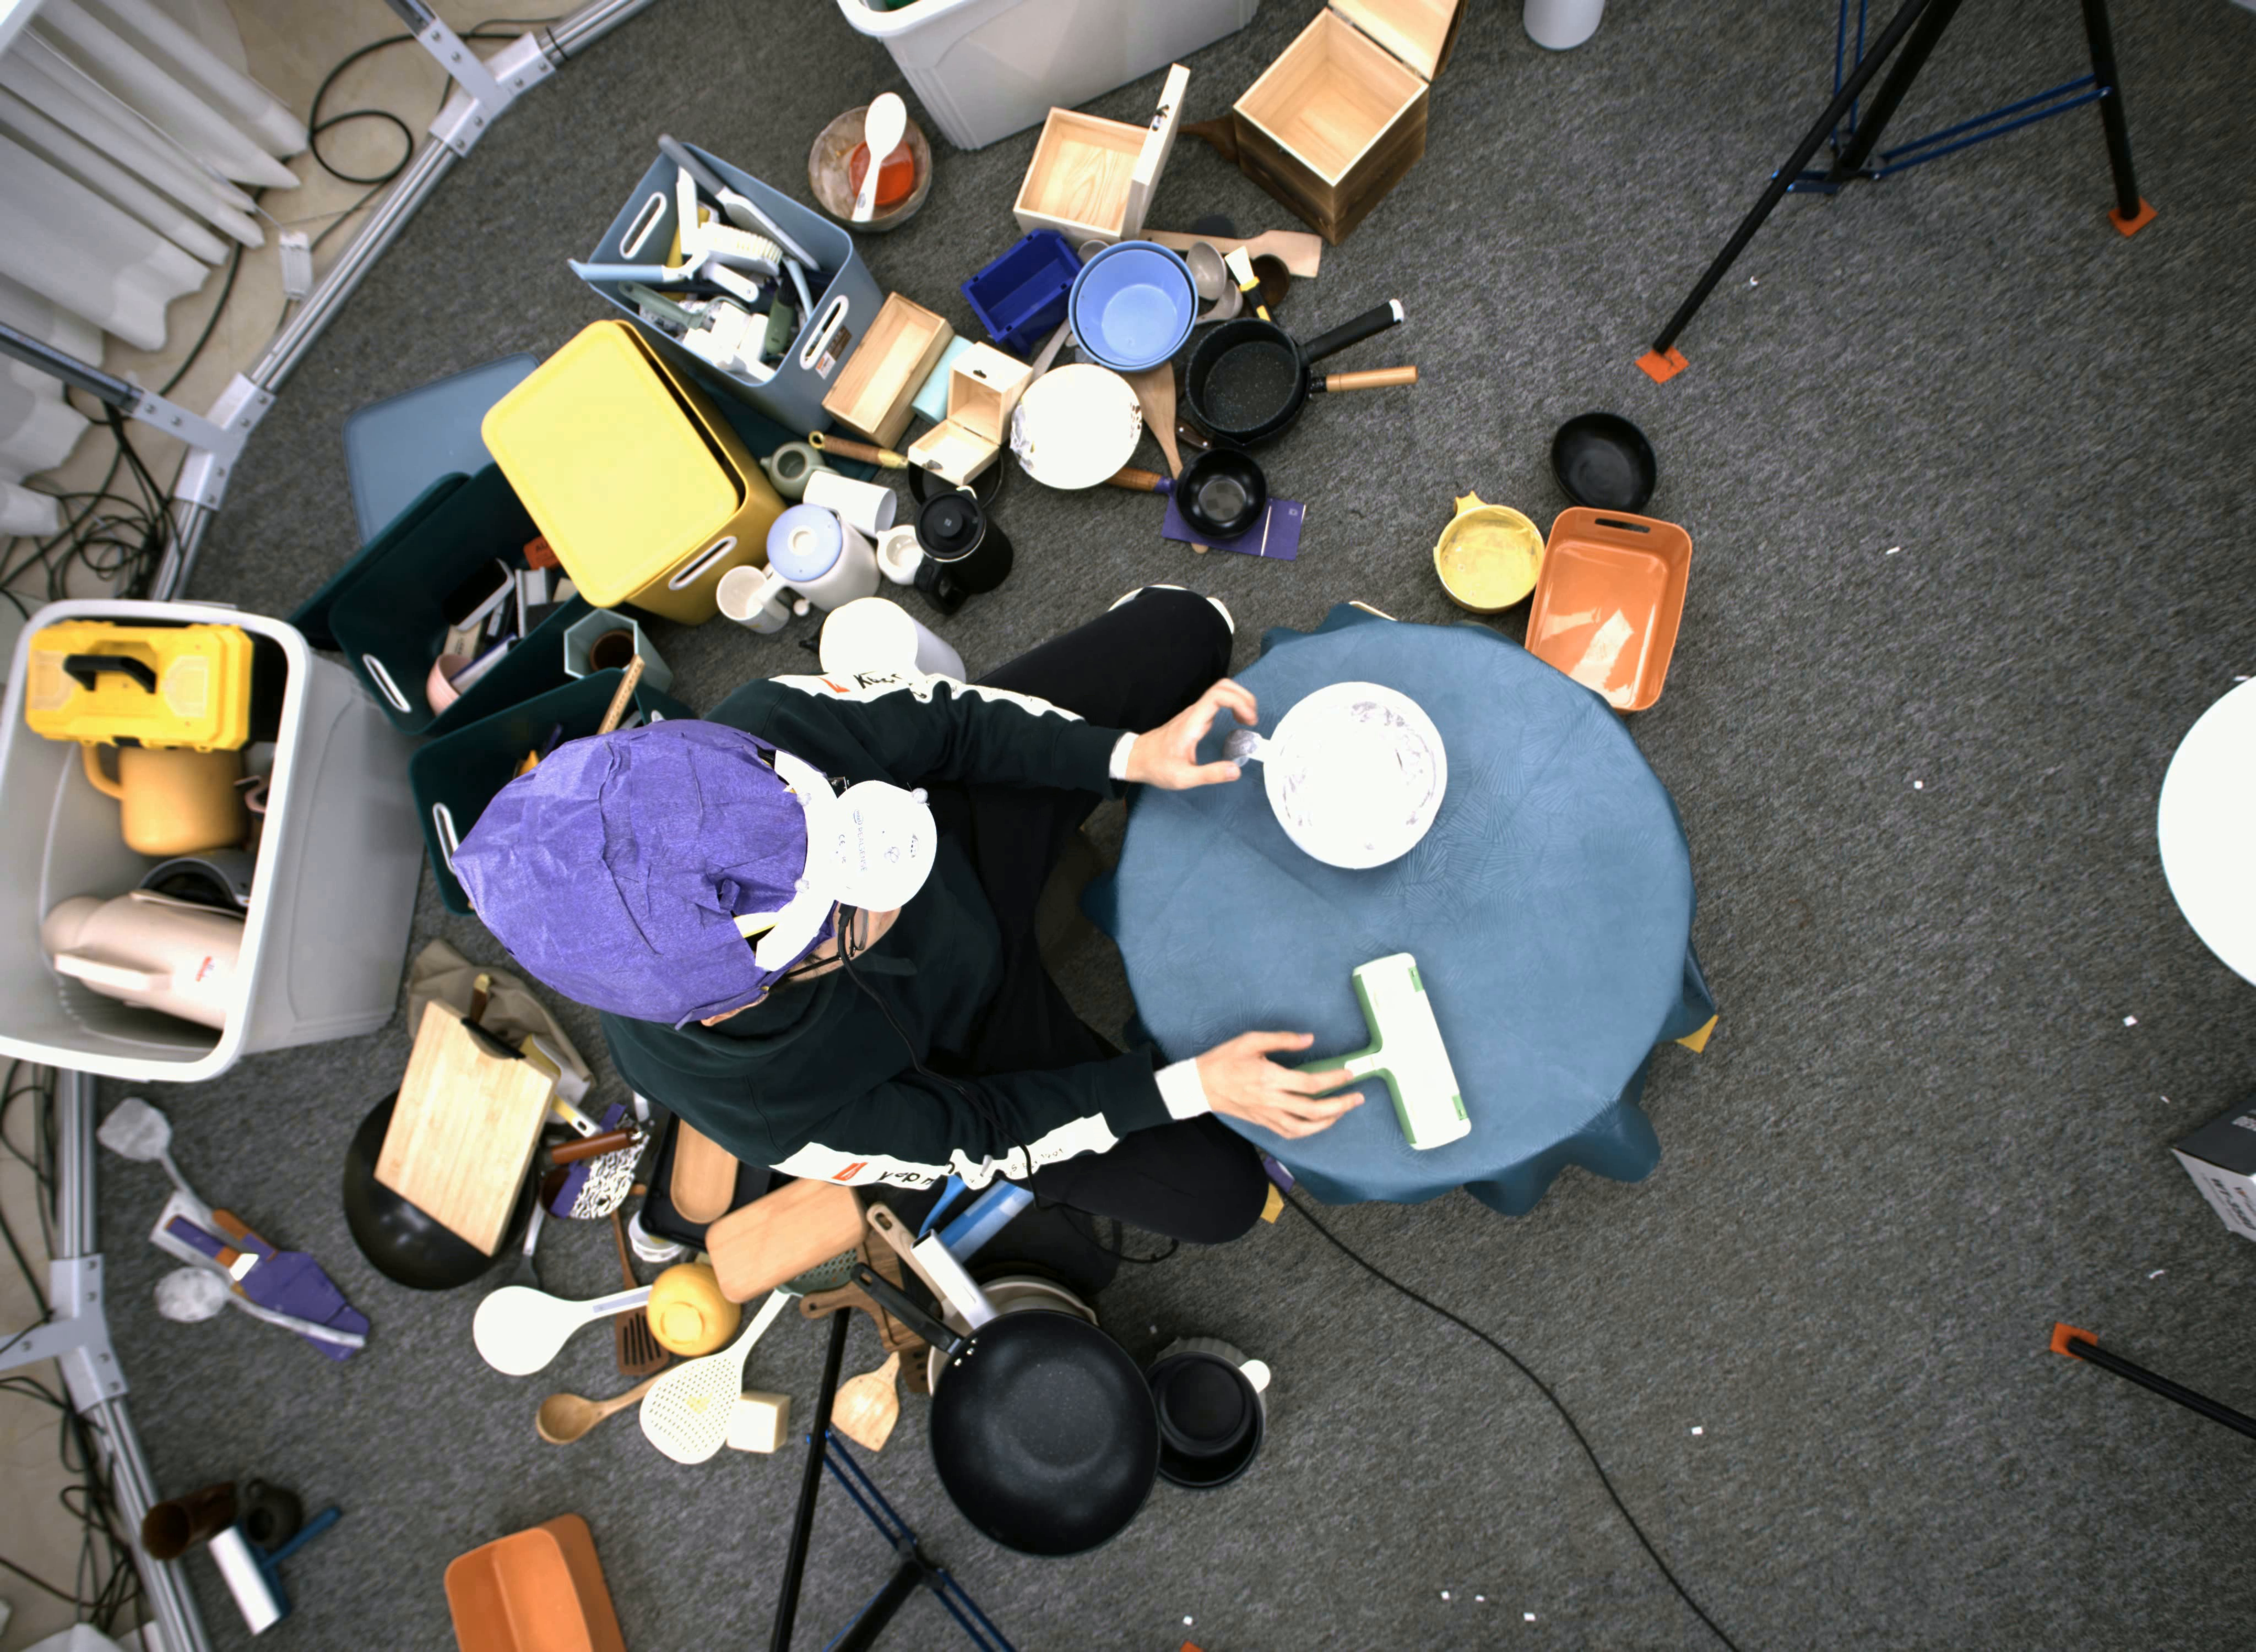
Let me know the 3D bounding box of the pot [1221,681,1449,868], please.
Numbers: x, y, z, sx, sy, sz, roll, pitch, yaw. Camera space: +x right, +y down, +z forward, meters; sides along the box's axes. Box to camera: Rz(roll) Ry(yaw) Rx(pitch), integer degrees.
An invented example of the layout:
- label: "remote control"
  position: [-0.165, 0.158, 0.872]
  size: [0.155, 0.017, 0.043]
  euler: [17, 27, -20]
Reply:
- label: "pot"
  position: [0.205, -0.056, 1.404]
  size: [0.234, 0.137, 0.178]
  euler: [16, 88, 10]

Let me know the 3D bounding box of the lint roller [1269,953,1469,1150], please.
- label: "lint roller"
  position: [0.232, 0.246, 1.415]
  size: [0.184, 0.082, 0.197]
  euler: [-18, 84, 4]
